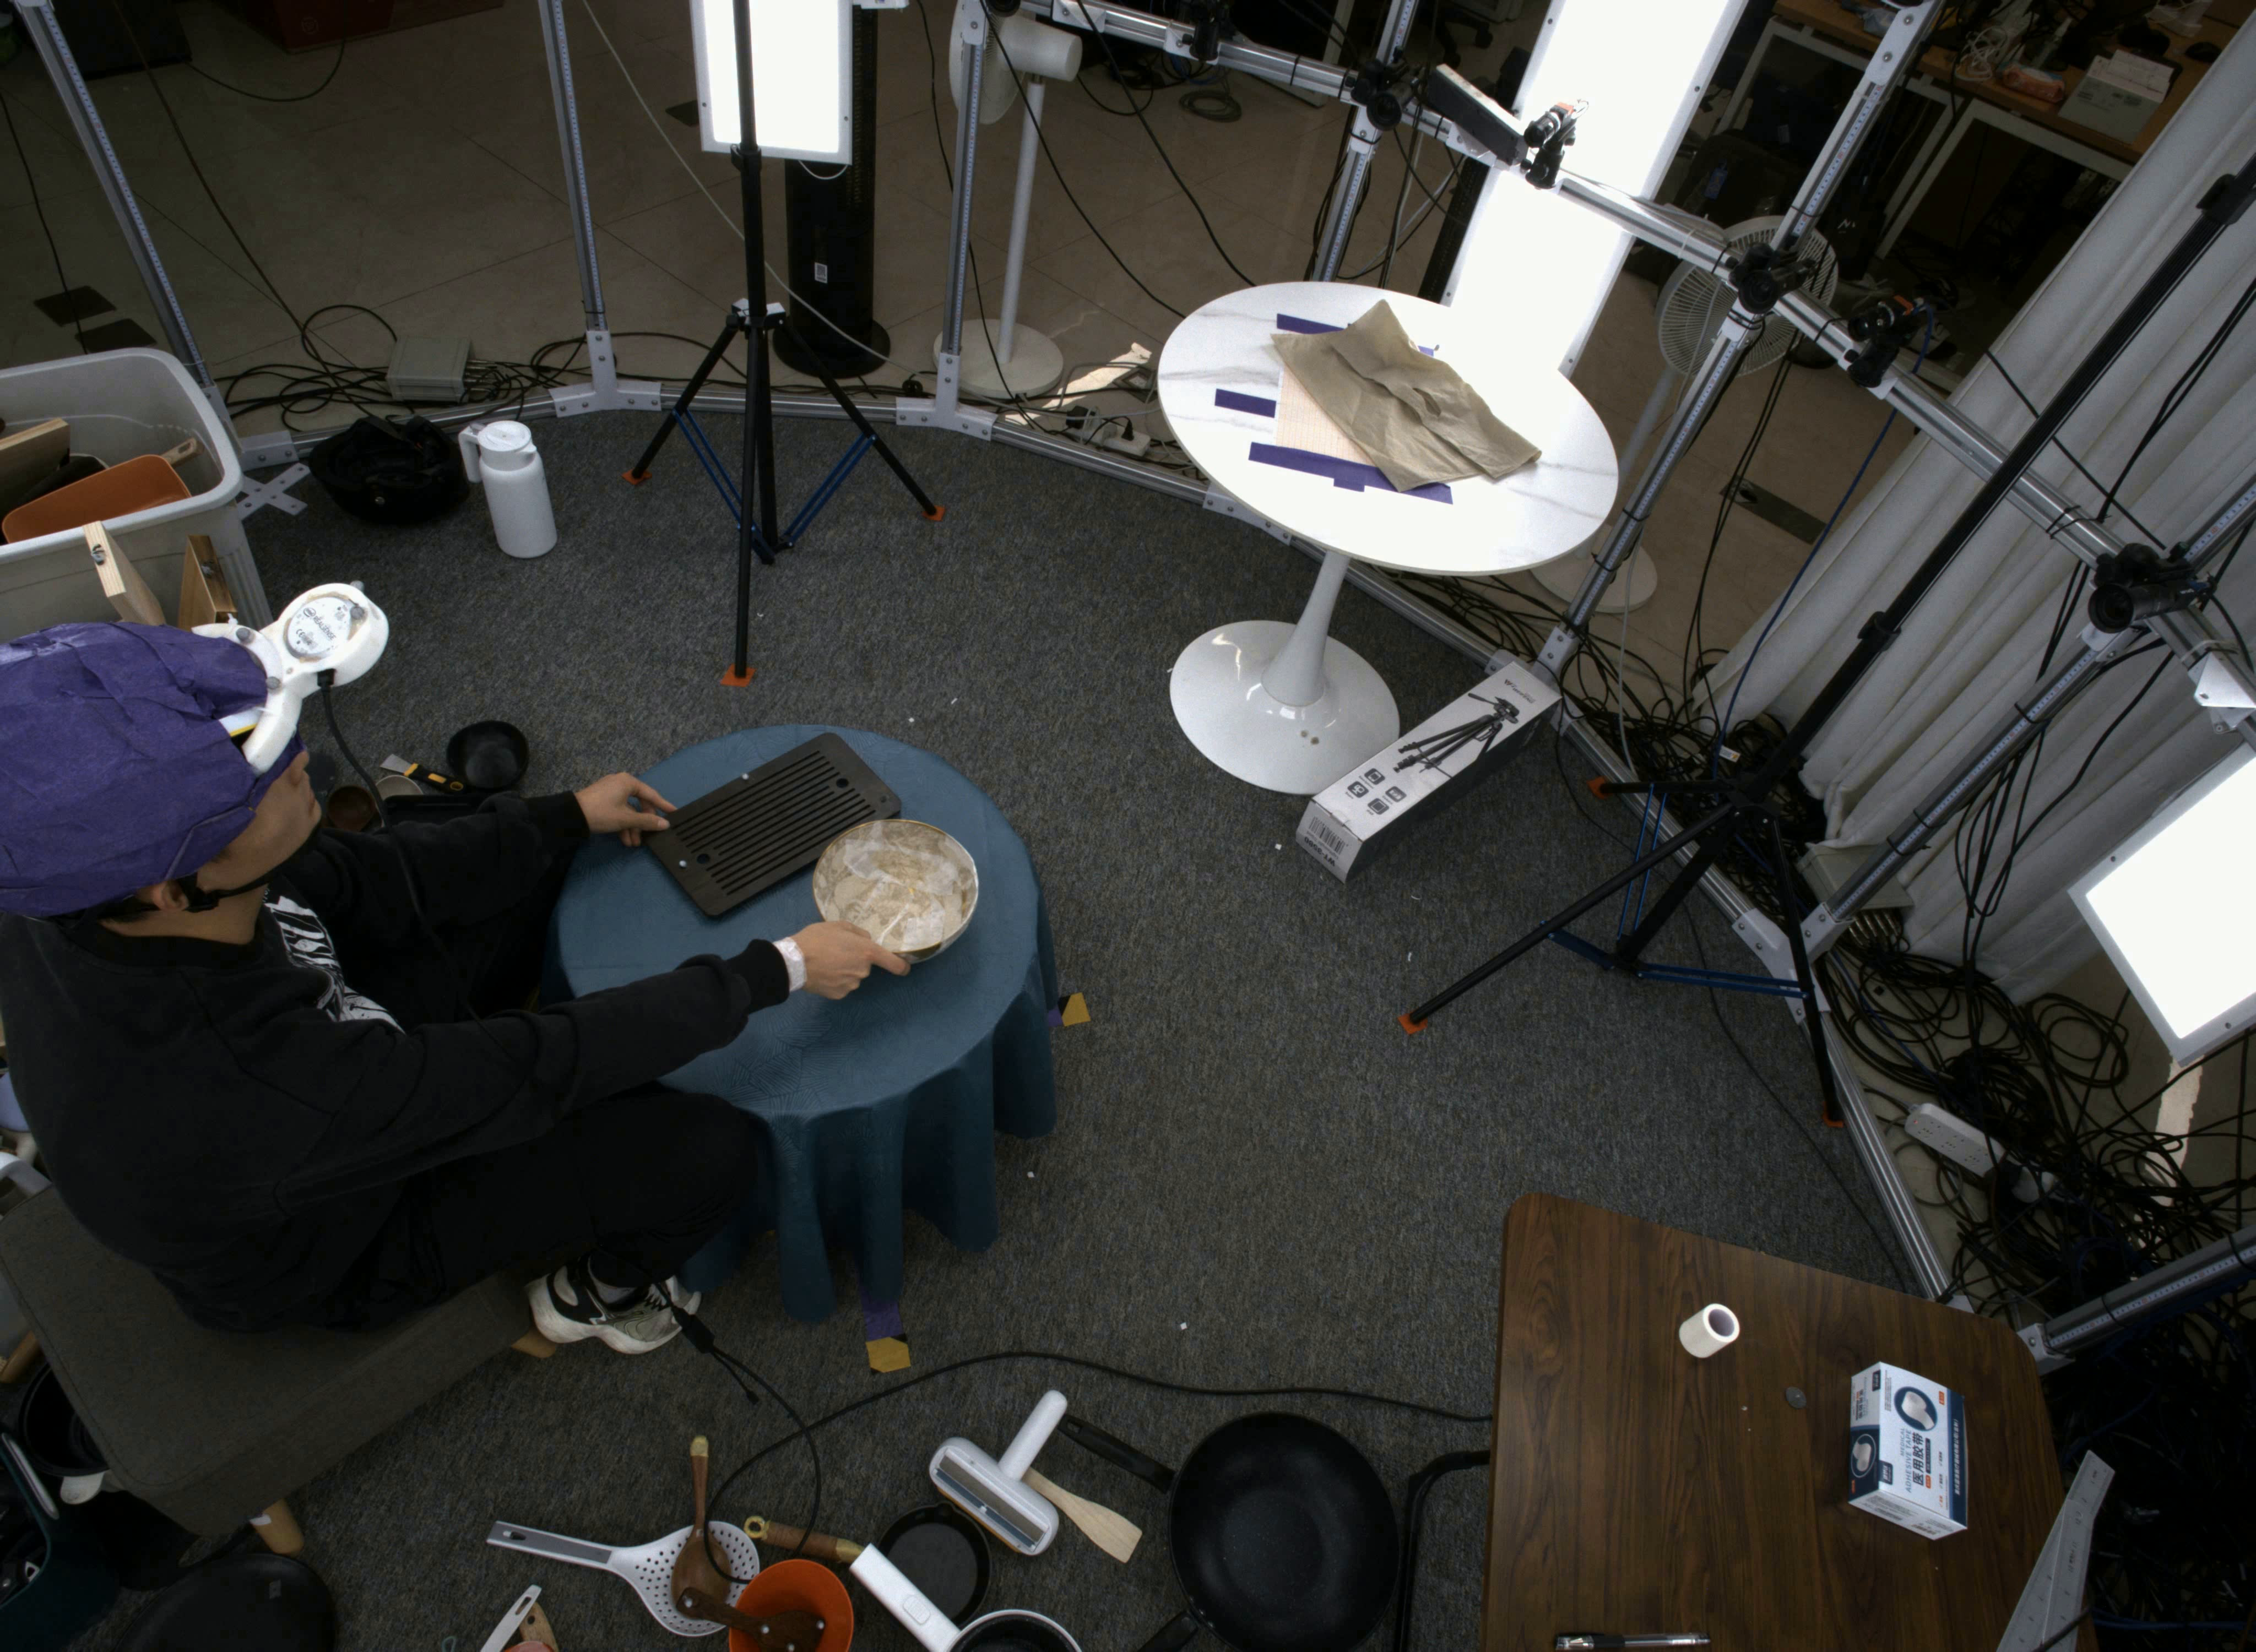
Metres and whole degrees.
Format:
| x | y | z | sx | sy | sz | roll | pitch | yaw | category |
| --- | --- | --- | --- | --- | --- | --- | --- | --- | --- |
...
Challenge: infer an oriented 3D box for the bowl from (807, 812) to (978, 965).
| x | y | z | sx | sy | sz | roll | pitch | yaw | category |
| --- | --- | --- | --- | --- | --- | --- | --- | --- | --- |
| -0.295 | 0.093 | 1.633 | 0.214 | 0.096 | 0.211 | 7 | 54 | -8 | bowl |

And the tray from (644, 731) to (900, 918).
| x | y | z | sx | sy | sz | roll | pitch | yaw | category |
| --- | --- | --- | --- | --- | --- | --- | --- | --- | --- |
| -0.468 | -0.008 | 1.712 | 0.307 | 0.019 | 0.166 | -34 | 68 | -32 | tray |
